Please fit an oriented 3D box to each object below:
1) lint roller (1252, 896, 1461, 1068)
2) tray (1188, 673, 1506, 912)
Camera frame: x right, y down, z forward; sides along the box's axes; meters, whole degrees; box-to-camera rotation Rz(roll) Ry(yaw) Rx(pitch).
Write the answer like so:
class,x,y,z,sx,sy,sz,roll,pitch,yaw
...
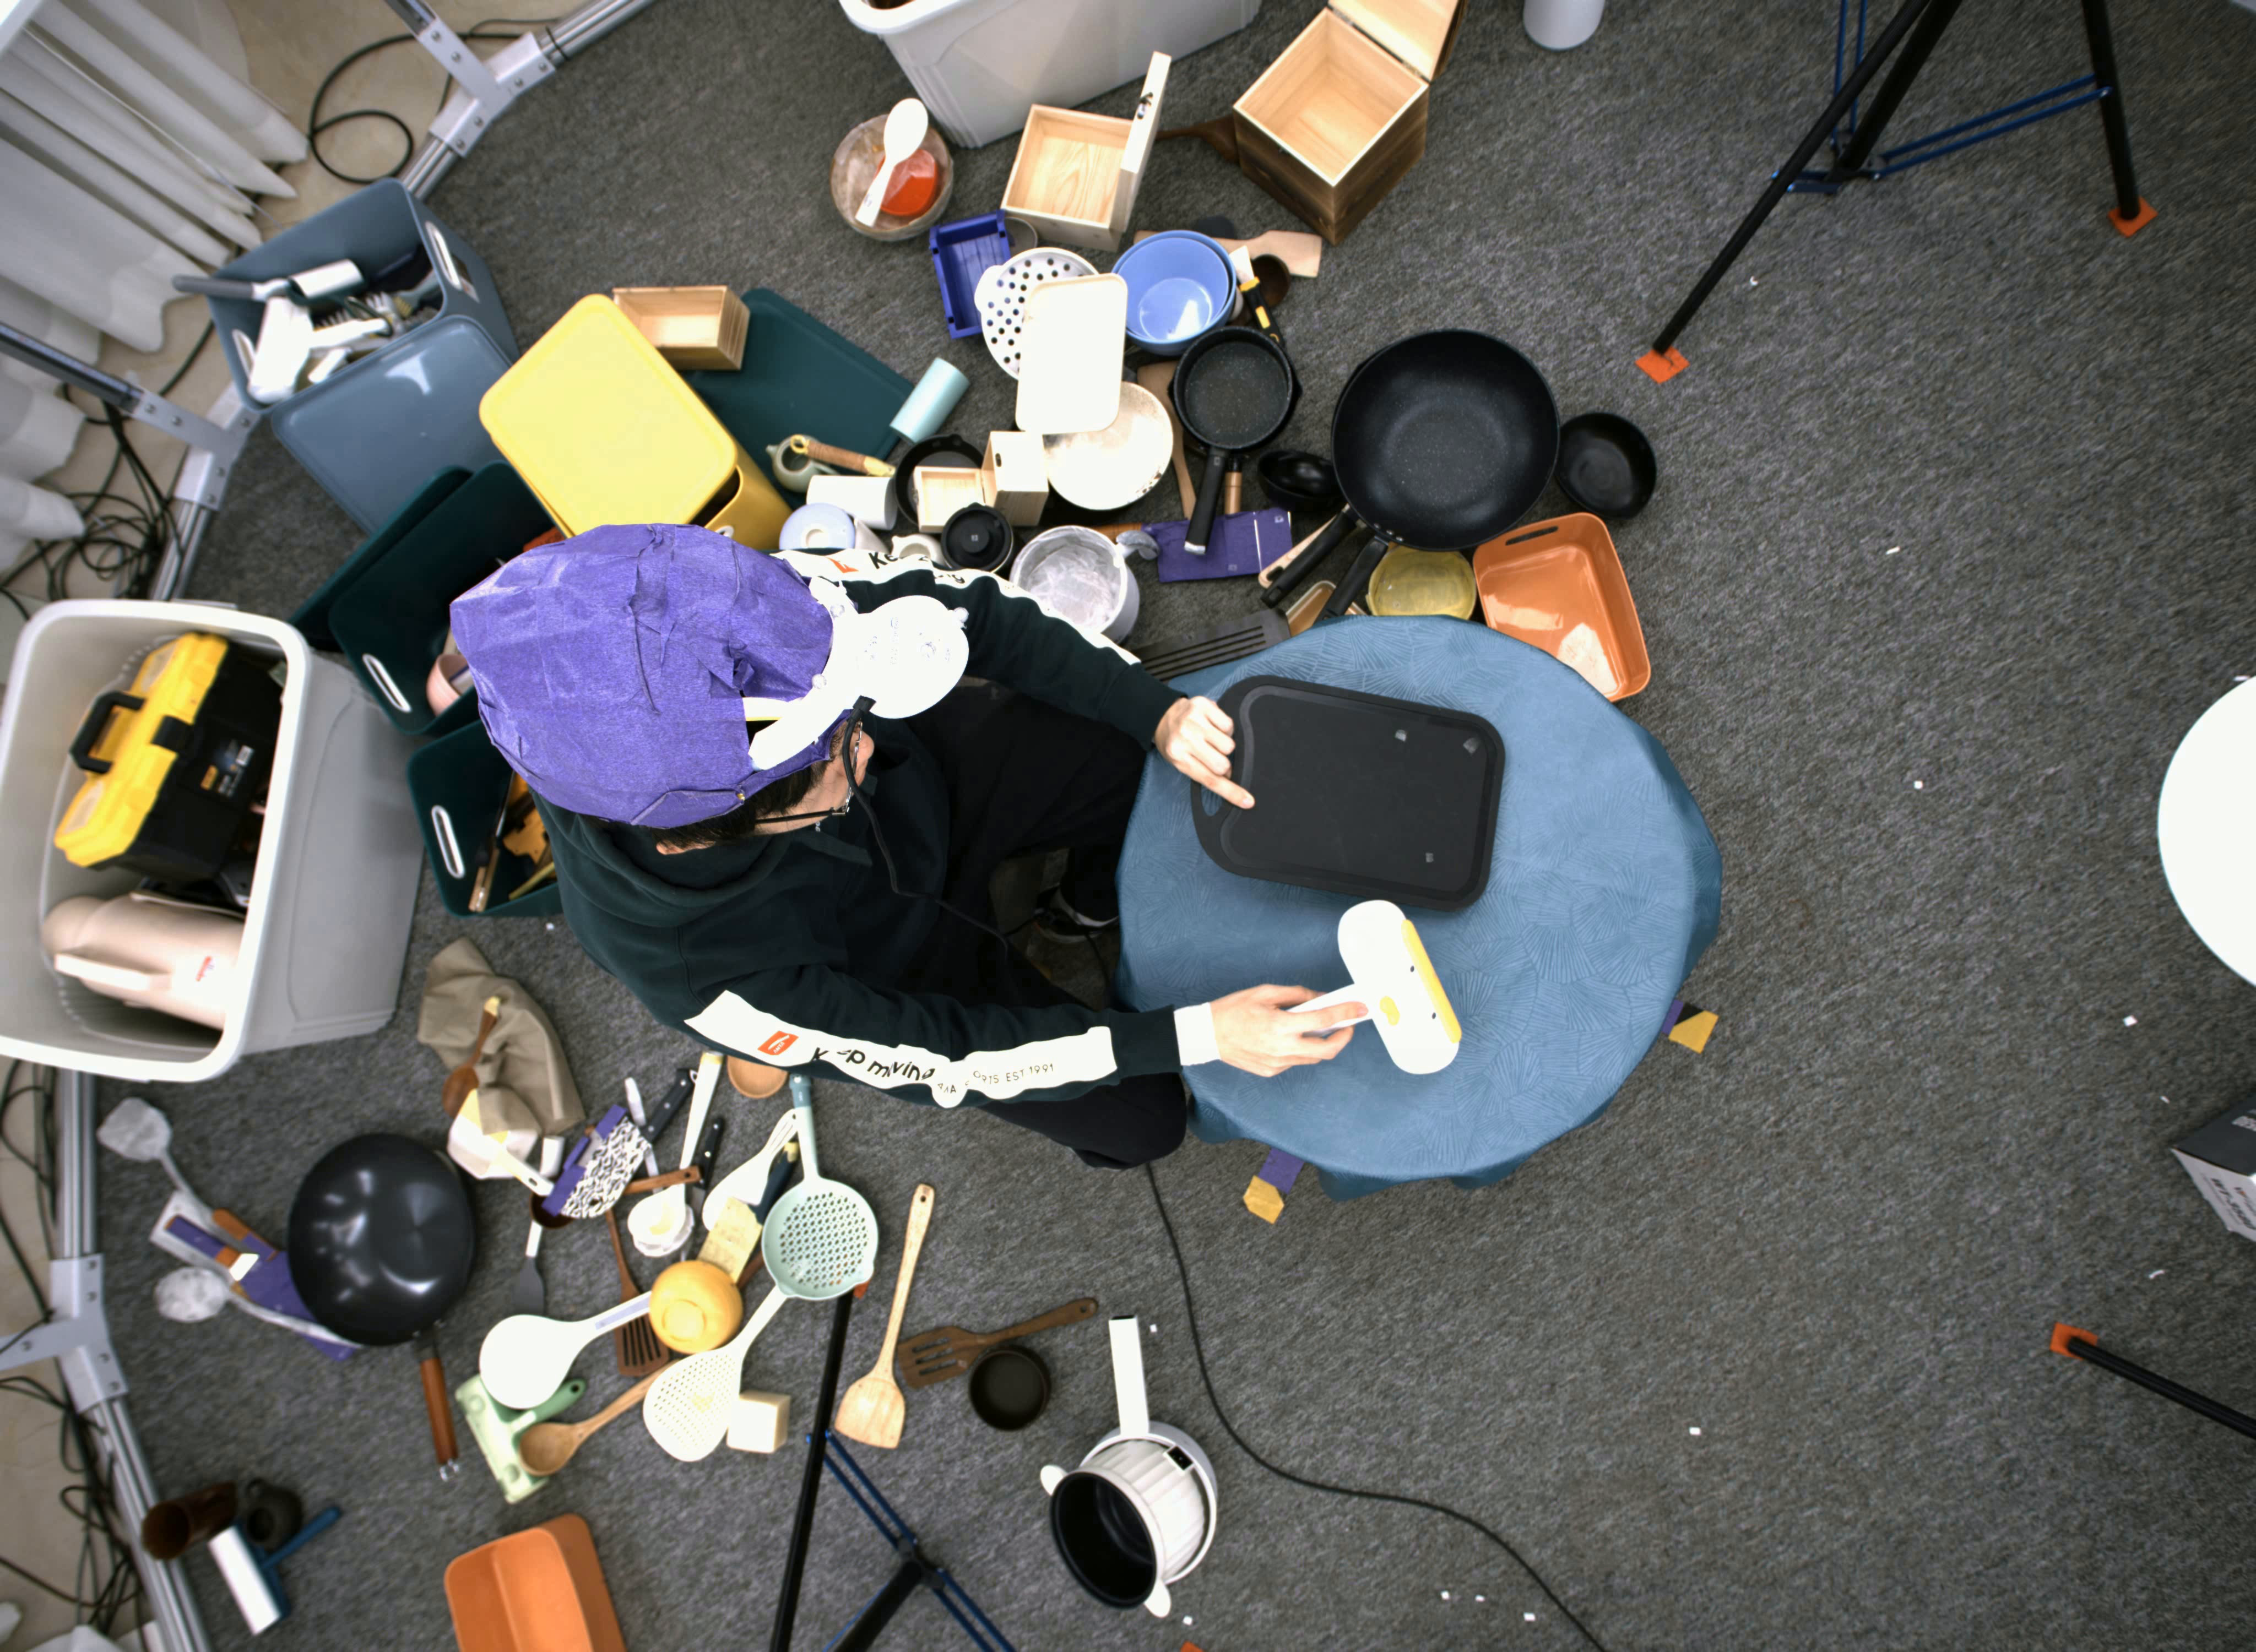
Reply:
class,x,y,z,sx,sy,sz,roll,pitch,yaw
lint roller,0.211,0.176,1.365,0.195,0.072,0.195,-22,116,27
tray,0.223,-0.036,1.407,0.325,0.010,0.210,10,87,-5
